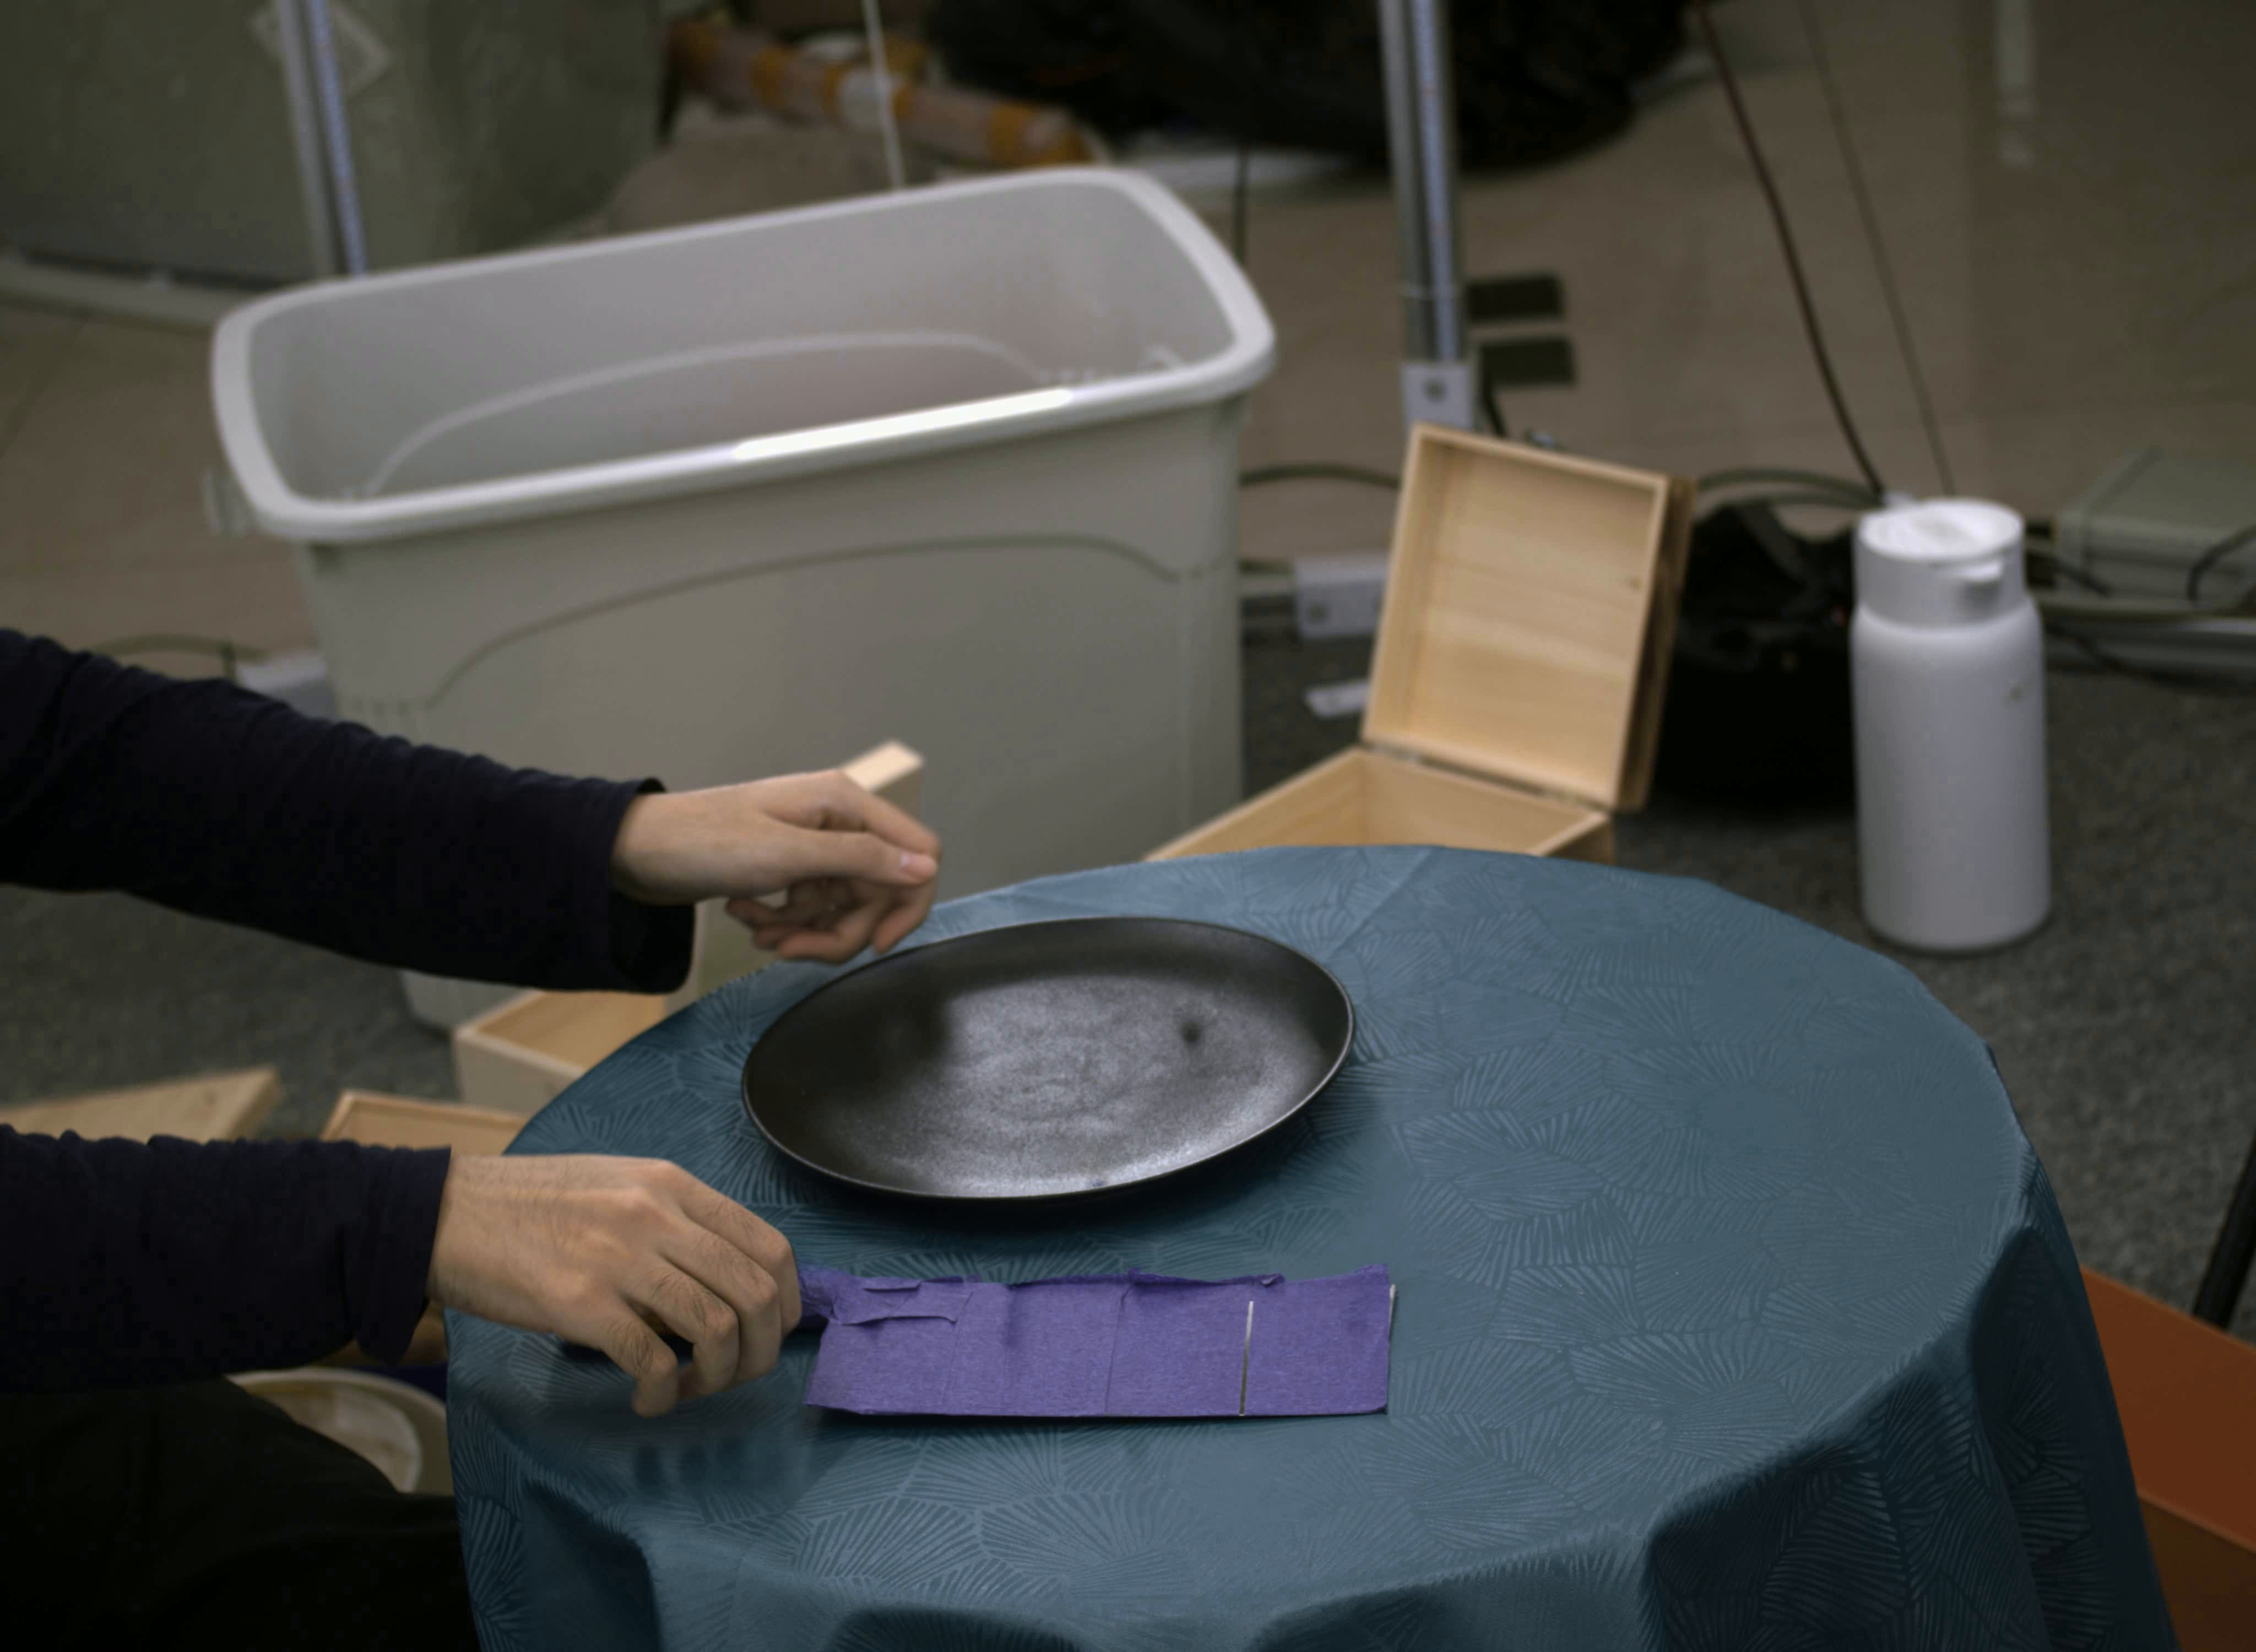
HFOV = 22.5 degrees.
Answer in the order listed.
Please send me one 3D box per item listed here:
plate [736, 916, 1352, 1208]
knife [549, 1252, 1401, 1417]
[{"bbox_3d":[-0.032,0.097,2.223,0.244,0.024,0.241,-5,25,3],"label":"plate"},{"bbox_3d":[-0.059,0.182,2.042,0.315,0.033,0.102,-3,25,7],"label":"knife"}]
